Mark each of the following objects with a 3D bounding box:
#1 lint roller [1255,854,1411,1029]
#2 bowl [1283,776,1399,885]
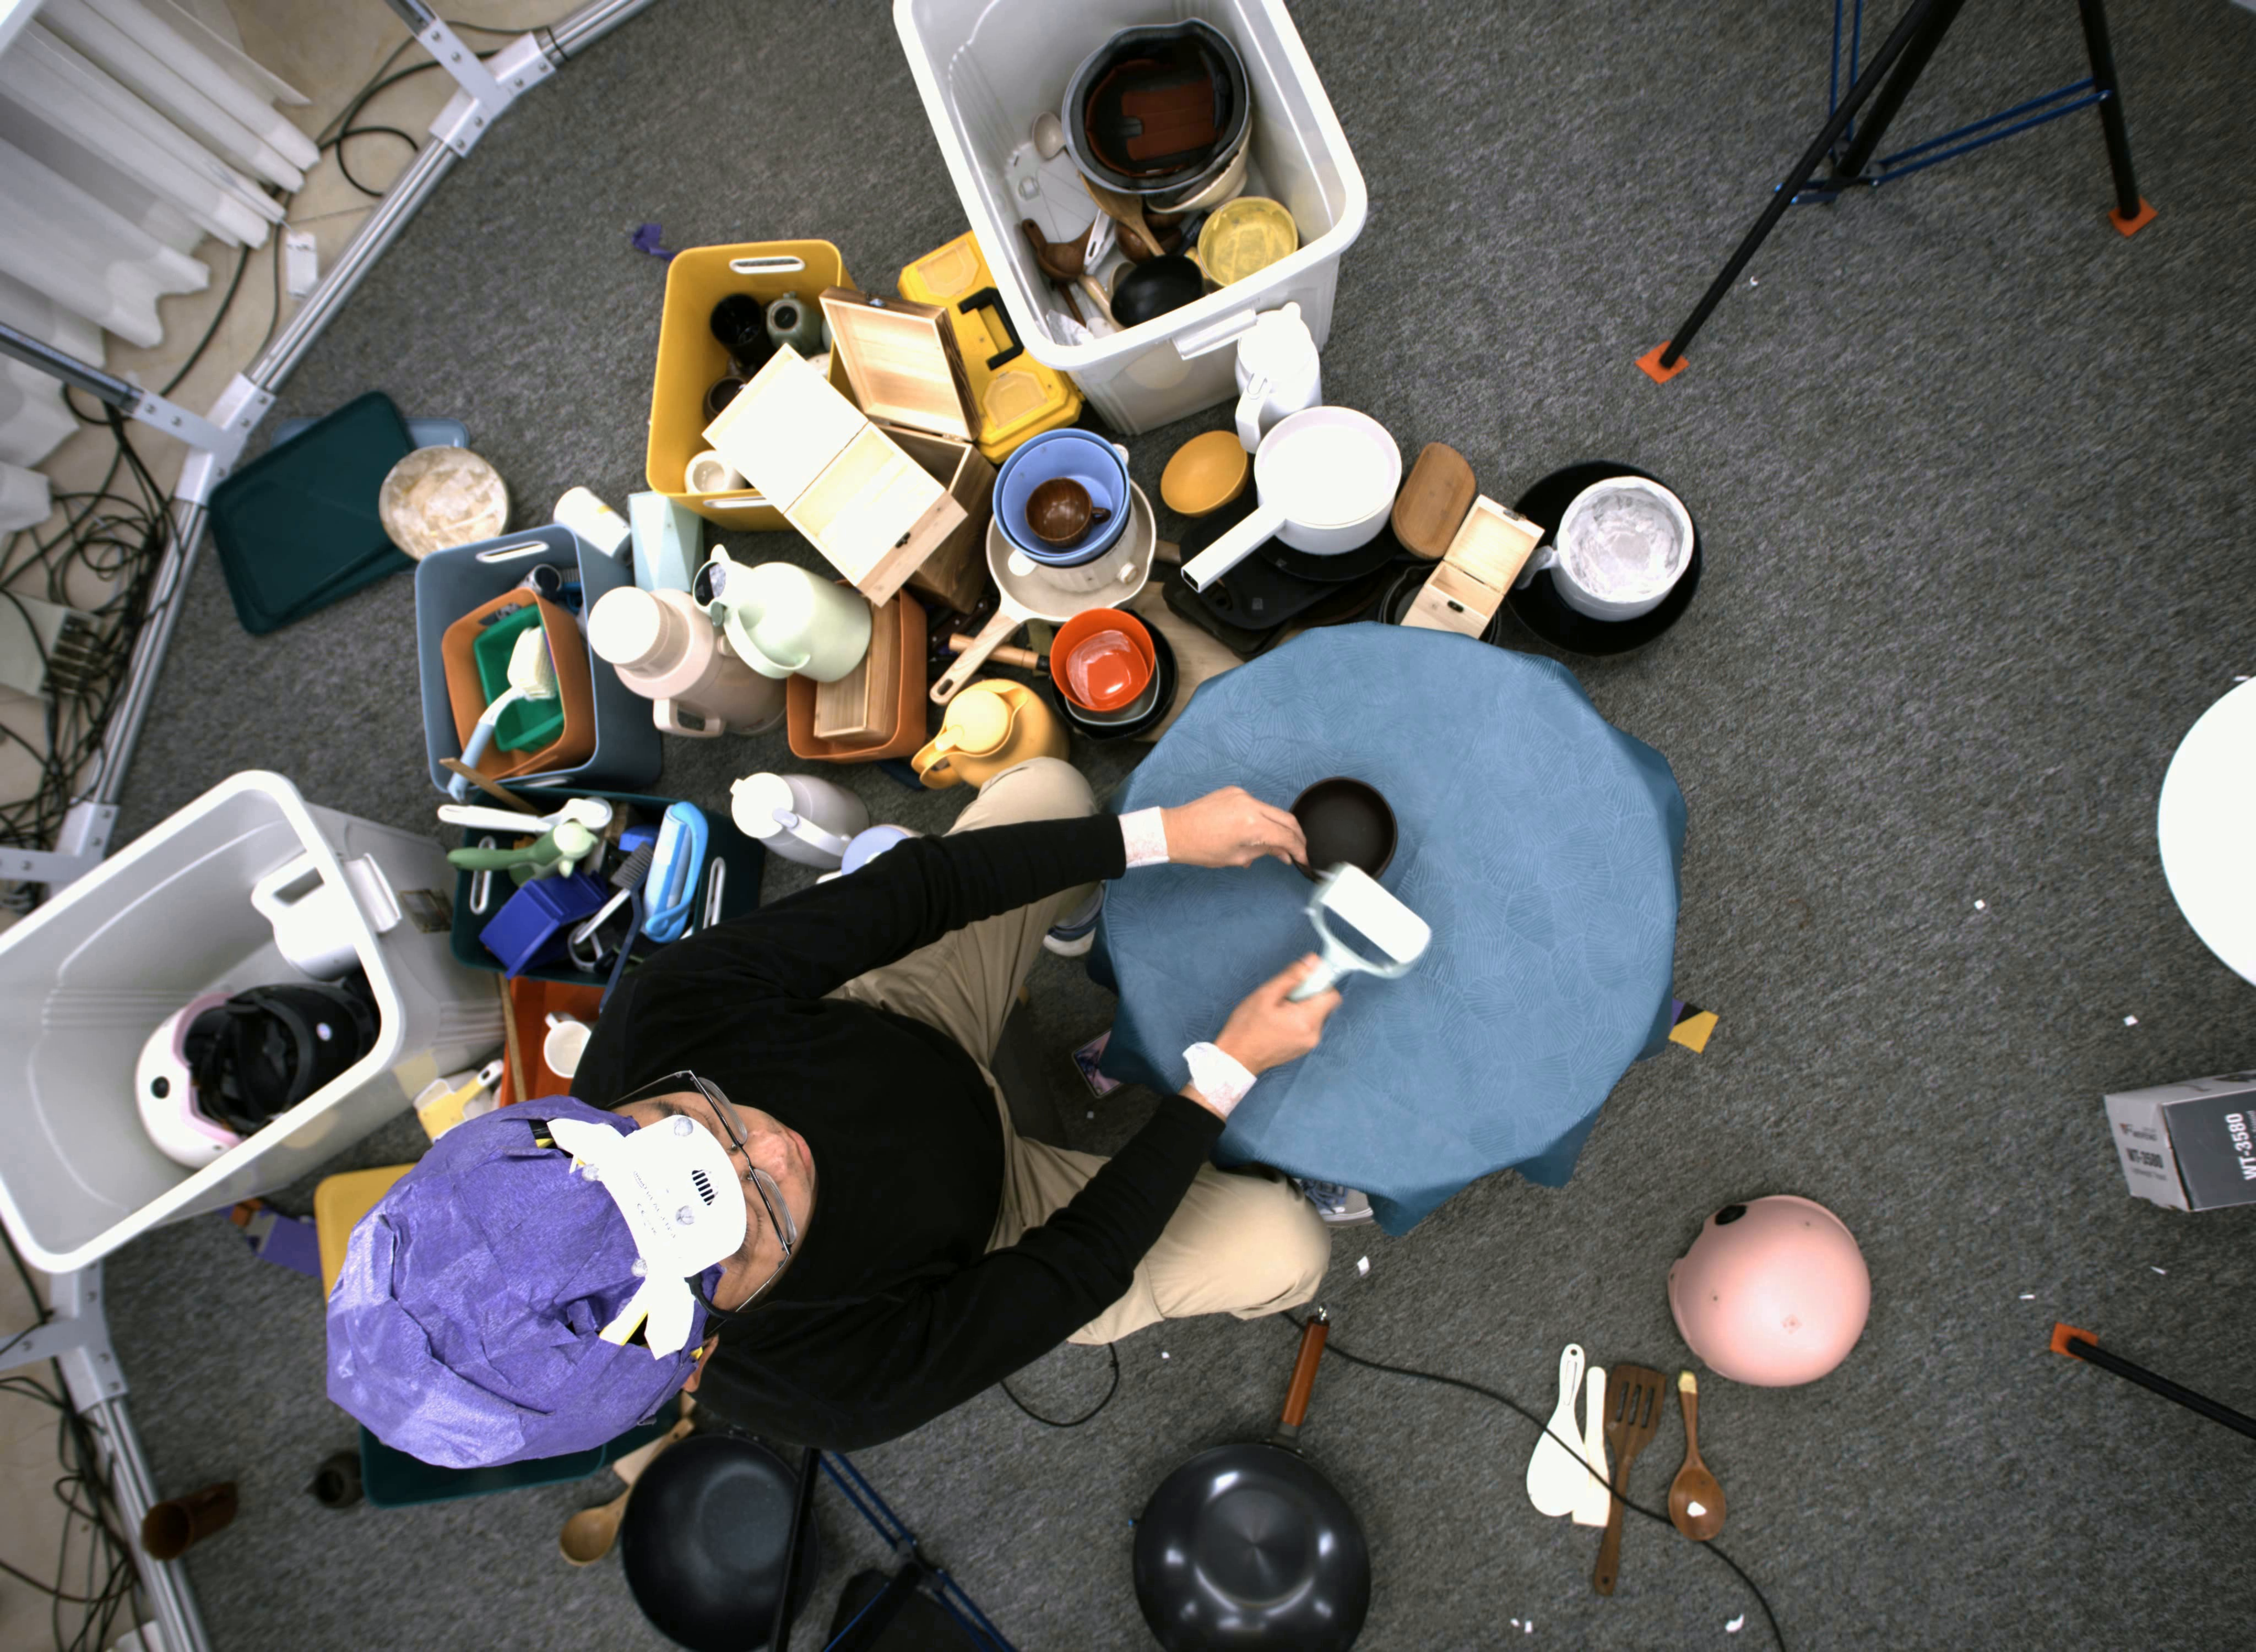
[{"bbox_3d":[0.186,0.131,1.402,0.117,0.048,0.200,33,108,-6],"label":"lint roller"},{"bbox_3d":[0.222,0.008,1.436,0.118,0.070,0.117,-1,87,11],"label":"bowl"}]
